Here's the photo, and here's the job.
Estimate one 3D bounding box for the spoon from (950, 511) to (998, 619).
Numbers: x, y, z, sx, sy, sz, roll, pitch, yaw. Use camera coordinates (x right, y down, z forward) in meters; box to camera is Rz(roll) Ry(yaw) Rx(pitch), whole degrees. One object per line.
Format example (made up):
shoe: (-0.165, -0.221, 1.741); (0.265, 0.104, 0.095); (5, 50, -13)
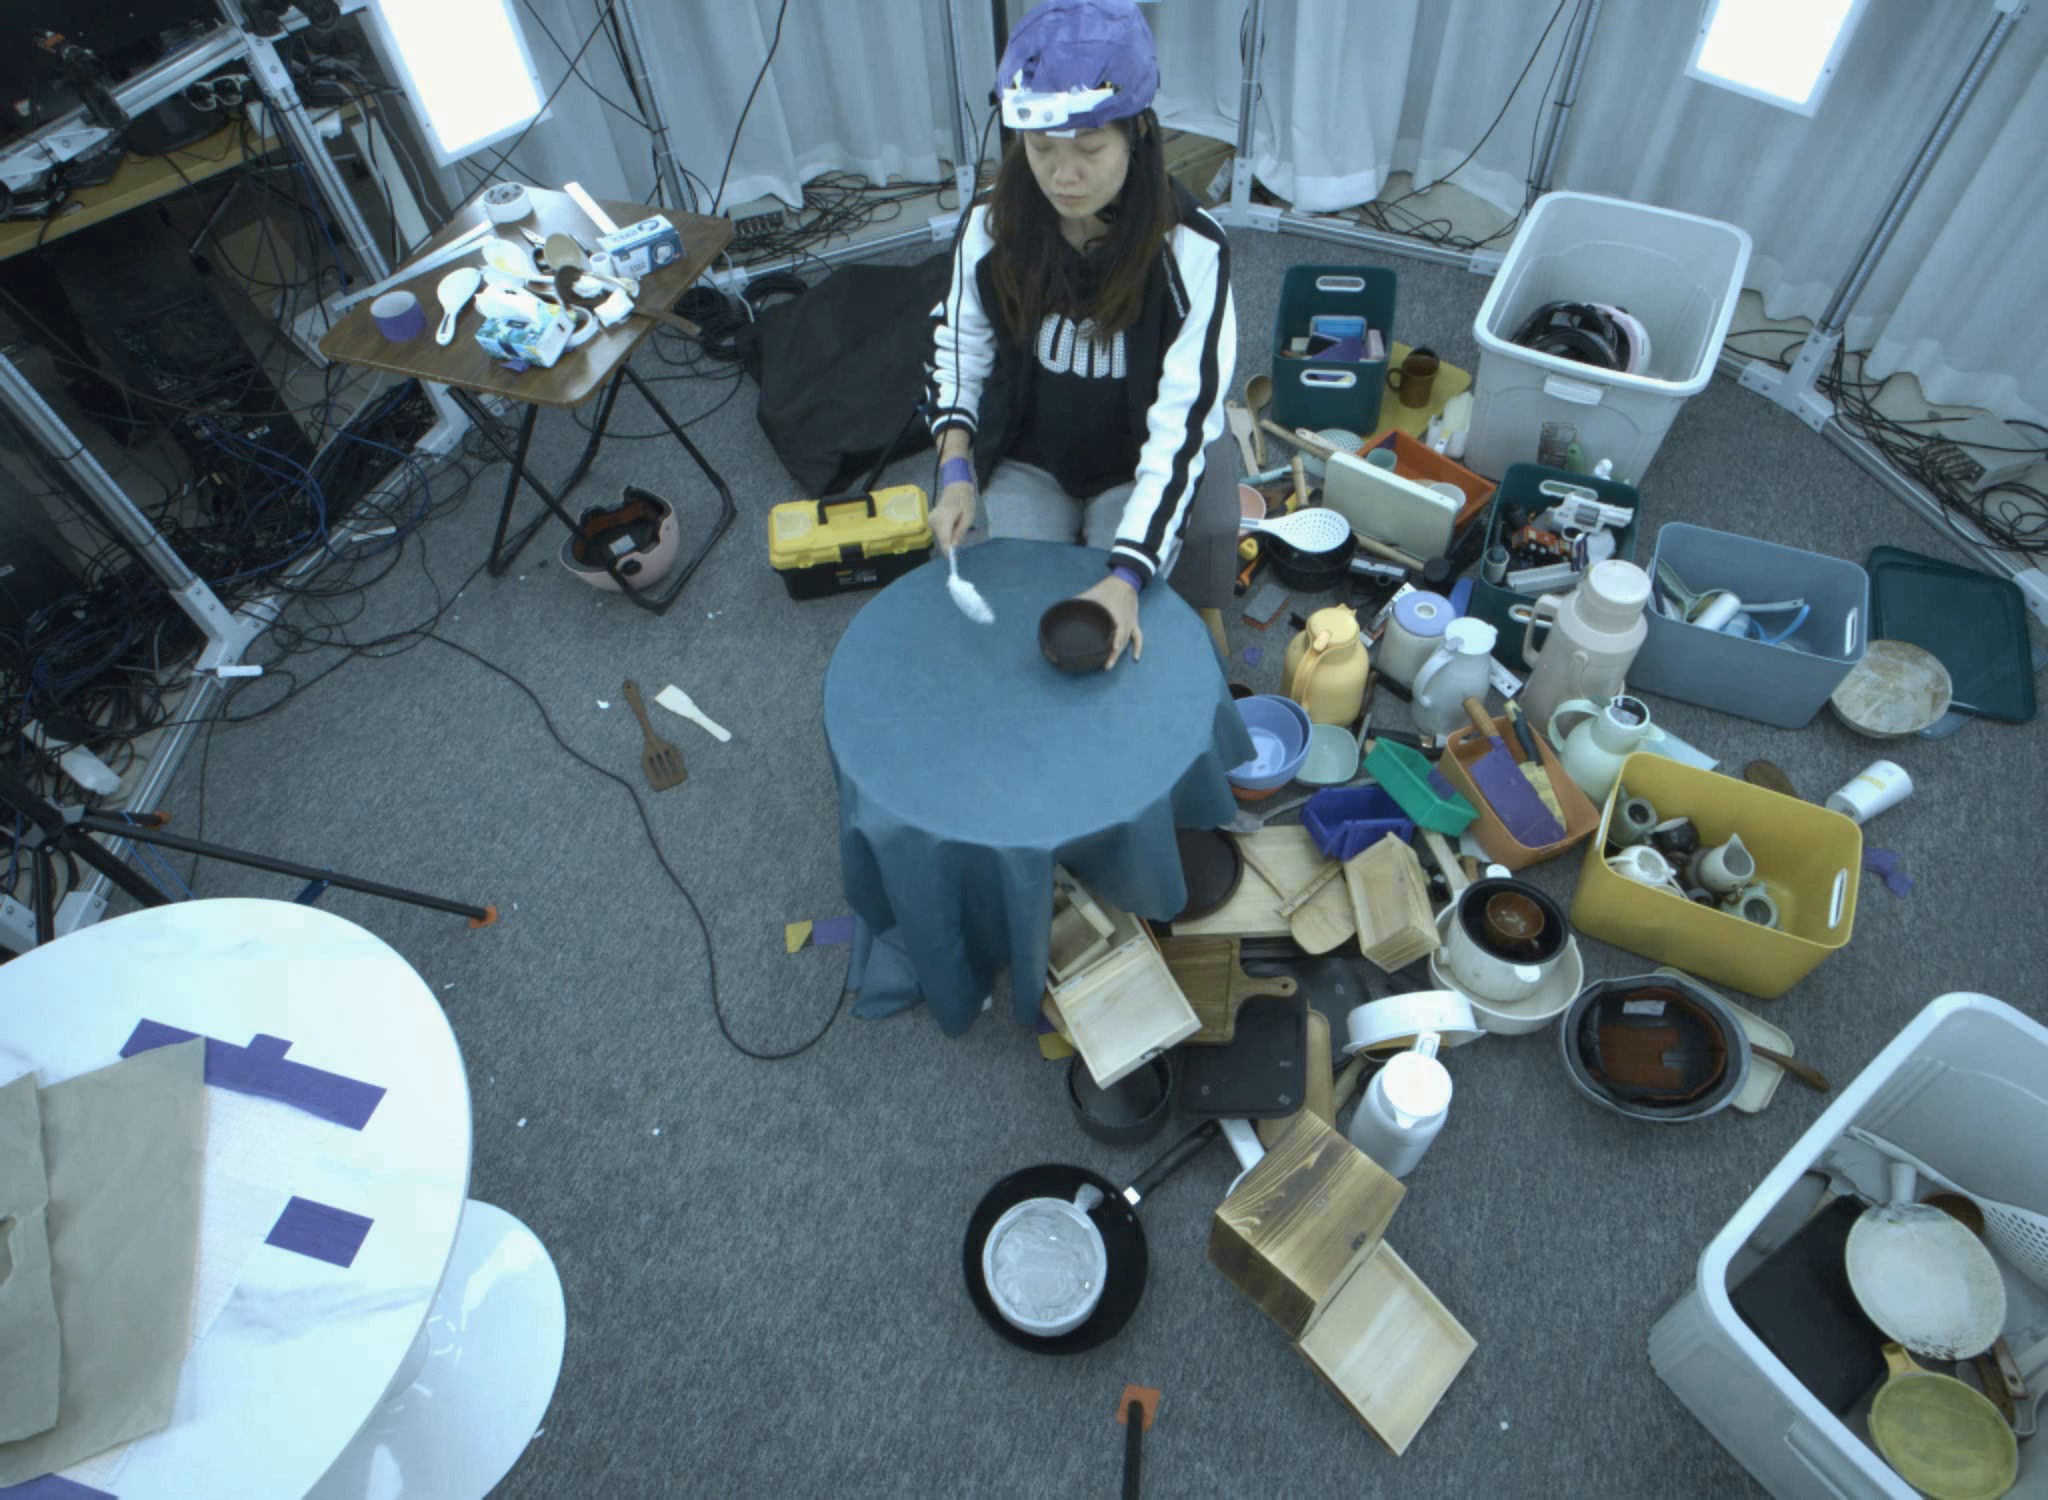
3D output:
spoon: (-0.077, -0.290, 1.846); (0.059, 0.103, 0.274); (-22, 42, 17)

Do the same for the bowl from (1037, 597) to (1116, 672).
bowl: (0.080, -0.167, 1.858); (0.118, 0.070, 0.117); (0, 55, 2)
